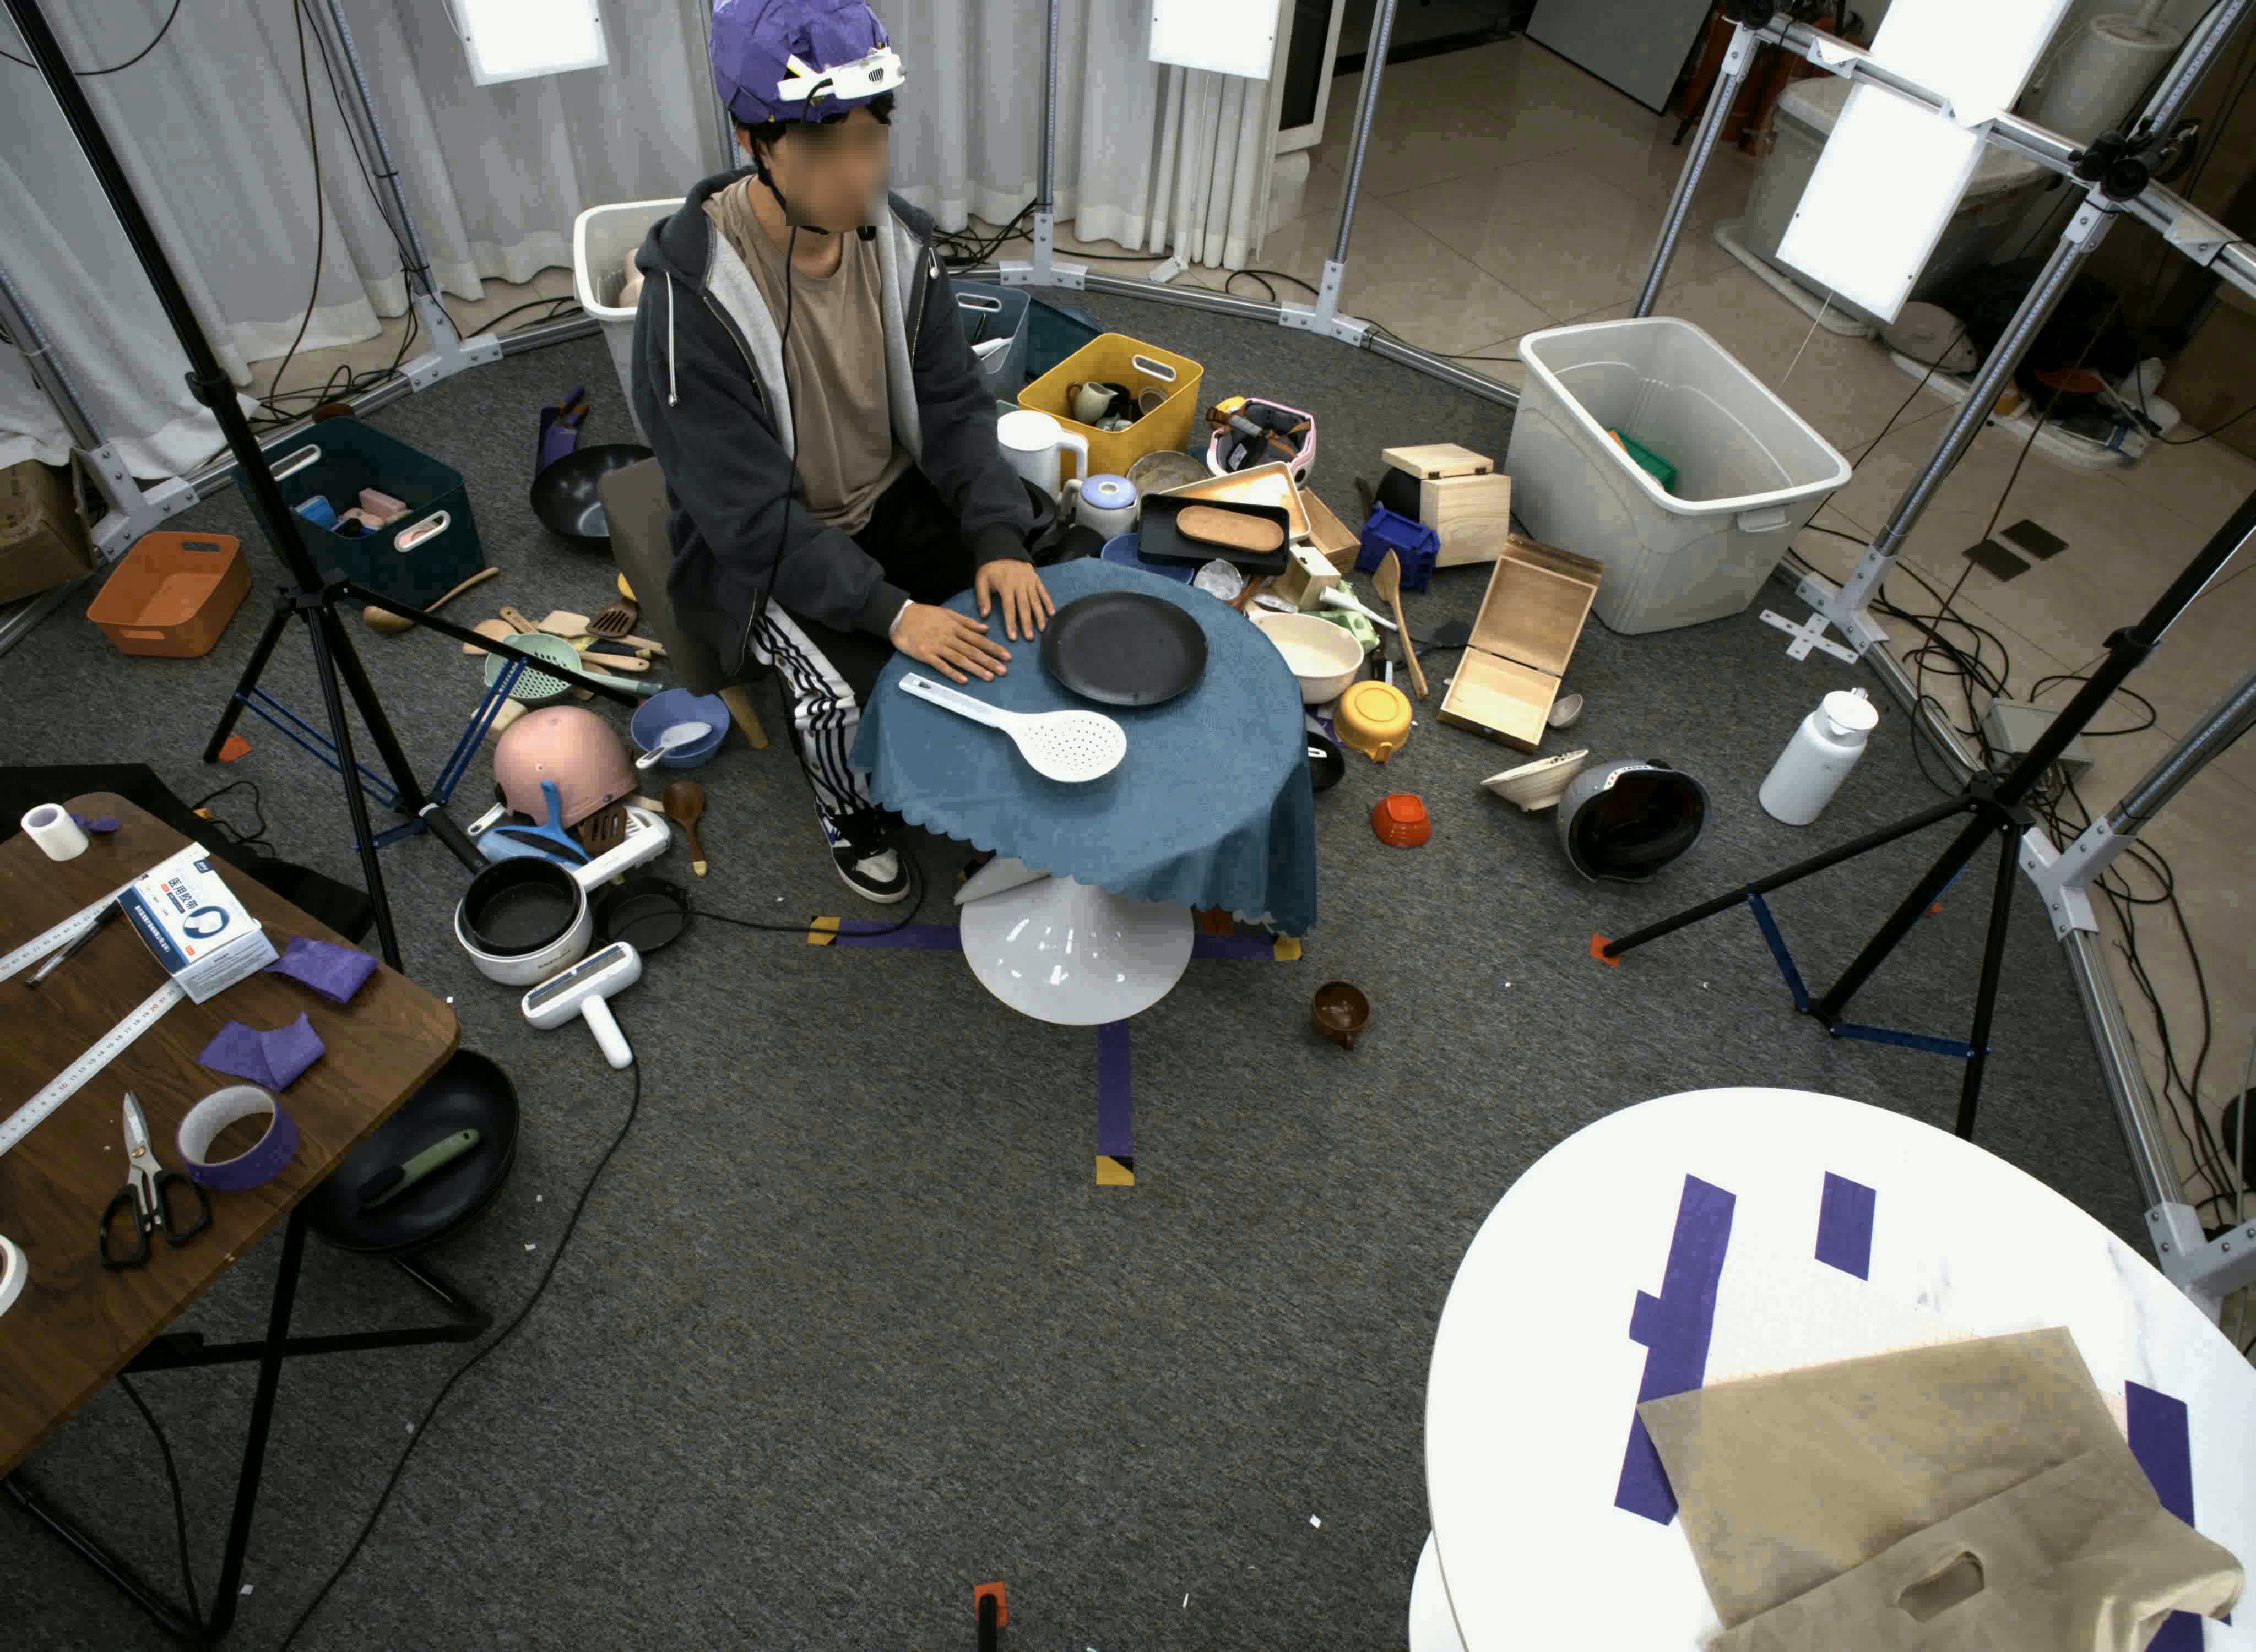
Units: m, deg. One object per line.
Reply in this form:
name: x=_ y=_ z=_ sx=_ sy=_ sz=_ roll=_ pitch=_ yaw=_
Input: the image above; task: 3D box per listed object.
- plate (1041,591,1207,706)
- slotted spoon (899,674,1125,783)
plate: x=-0.006 y=-0.256 z=1.874 sx=0.244 sy=0.023 sz=0.250 roll=2 pitch=49 yaw=-2
slotted spoon: x=-0.165 y=-0.141 z=1.748 sx=0.353 sy=0.044 sz=0.138 roll=25 pitch=50 yaw=18
